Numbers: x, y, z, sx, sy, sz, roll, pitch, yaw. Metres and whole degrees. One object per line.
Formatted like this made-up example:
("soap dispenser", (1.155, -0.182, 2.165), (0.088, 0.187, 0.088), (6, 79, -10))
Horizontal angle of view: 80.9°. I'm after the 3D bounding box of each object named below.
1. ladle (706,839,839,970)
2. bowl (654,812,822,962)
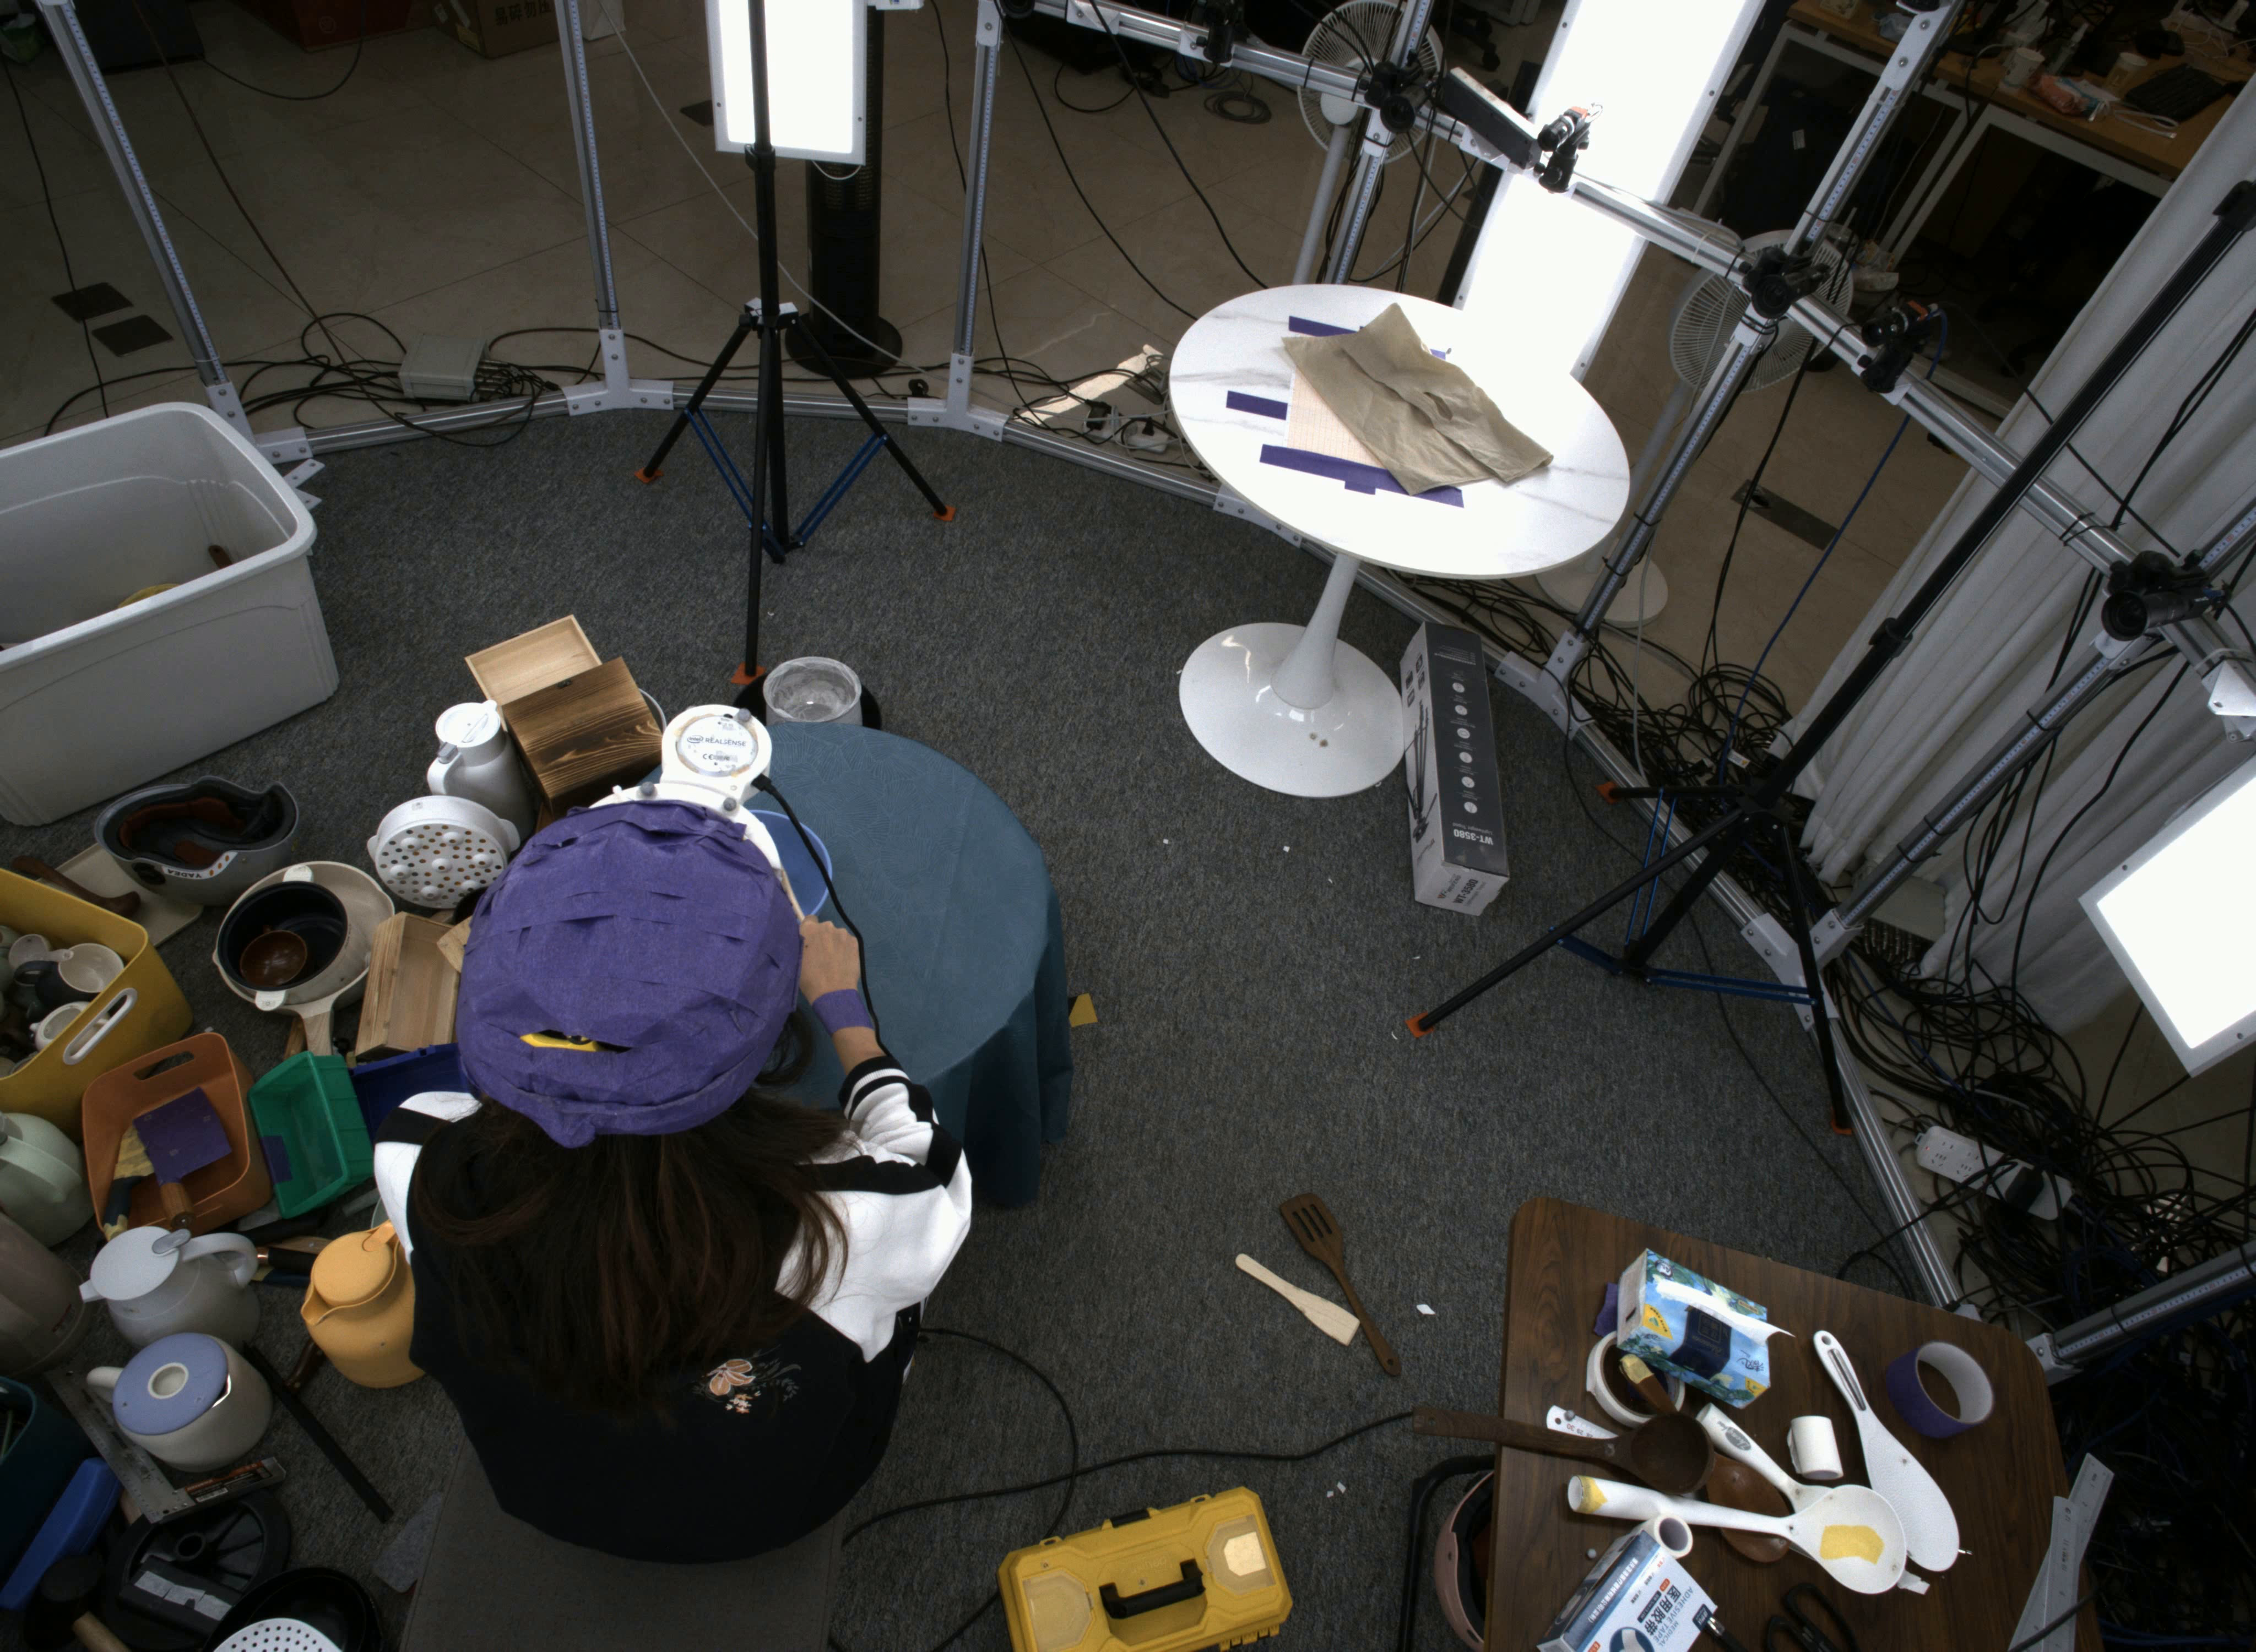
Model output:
("ladle", (-0.419, 0.094, 1.503), (0.074, 0.073, 0.245), (1, 27, -40))
("bowl", (-0.475, 0.088, 1.582), (0.196, 0.097, 0.193), (9, 52, -10))
